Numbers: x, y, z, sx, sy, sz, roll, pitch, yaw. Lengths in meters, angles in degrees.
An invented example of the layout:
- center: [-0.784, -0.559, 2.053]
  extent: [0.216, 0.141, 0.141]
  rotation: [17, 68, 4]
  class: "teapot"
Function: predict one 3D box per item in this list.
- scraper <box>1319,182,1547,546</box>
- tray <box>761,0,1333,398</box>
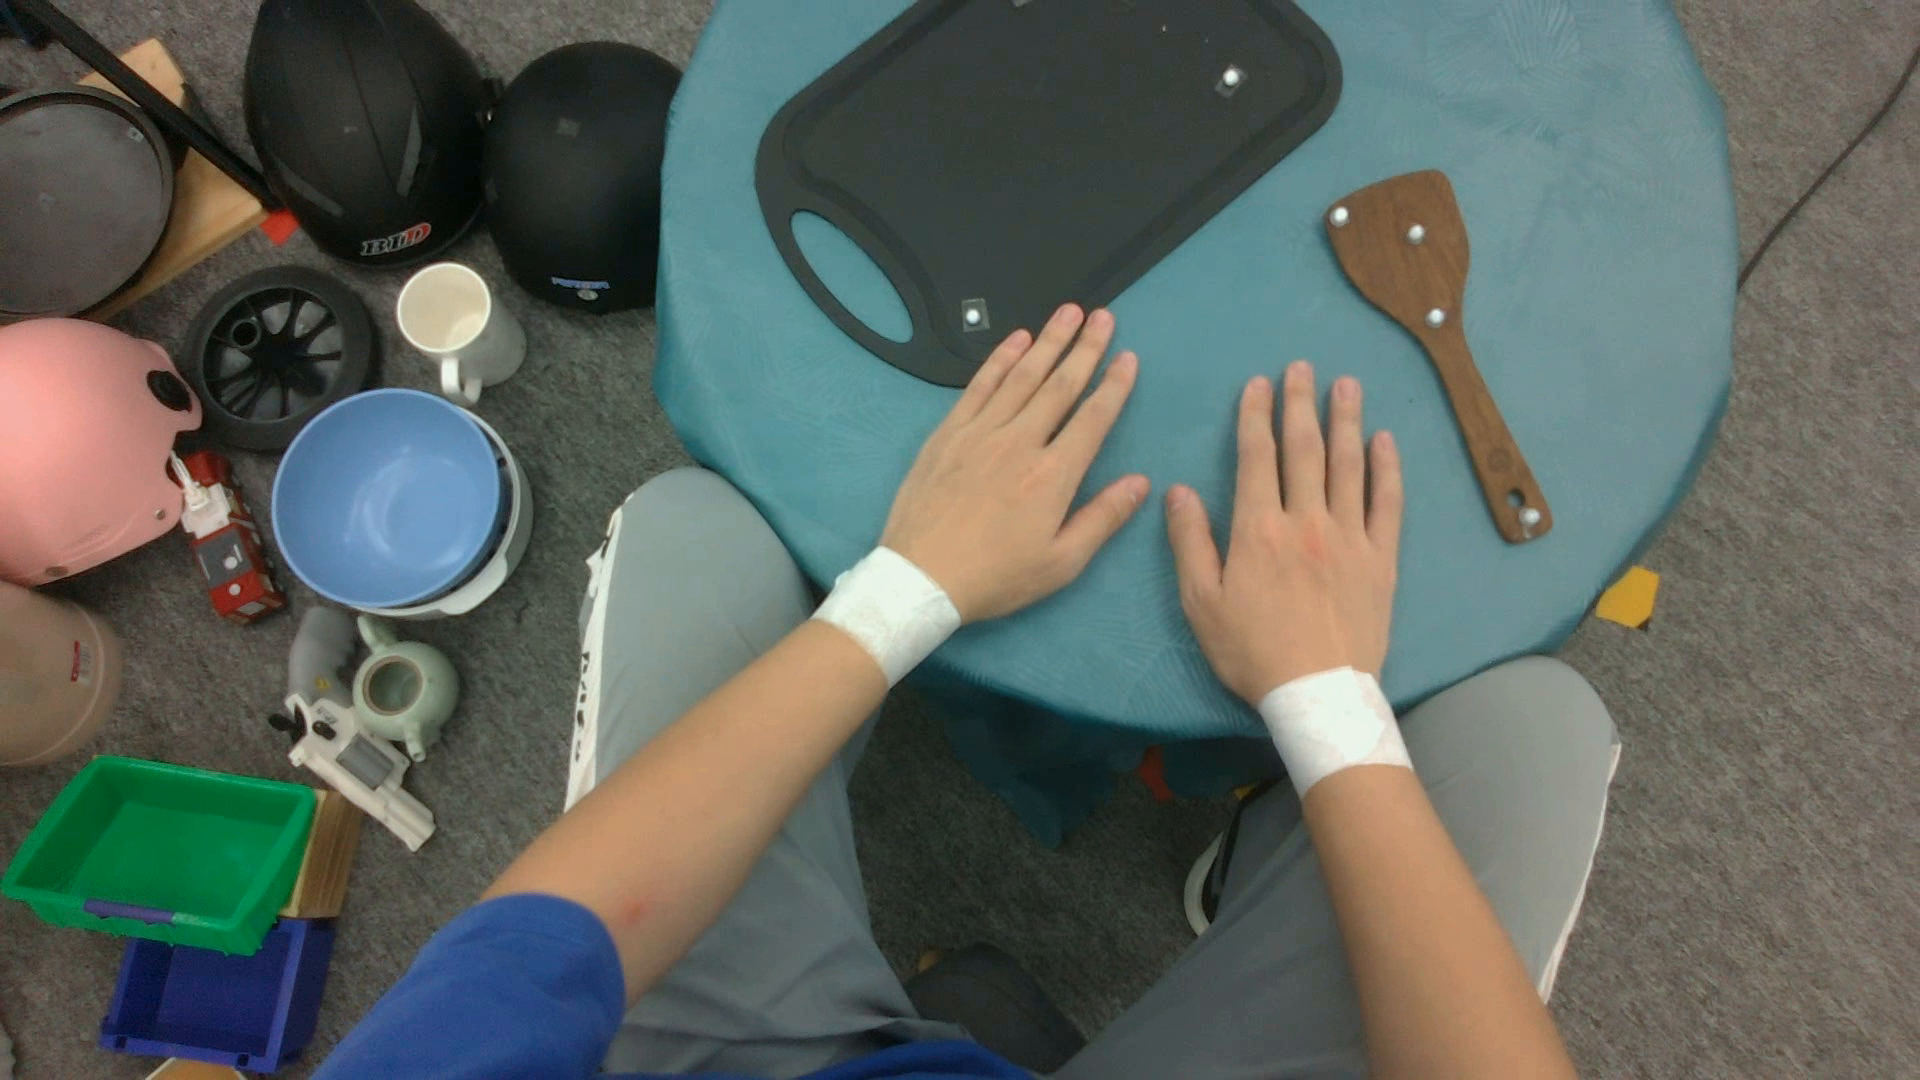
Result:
- center: [0.266, -0.096, 0.753]
  extent: [0.076, 0.011, 0.211]
  rotation: [-19, 77, -2]
  class: "scraper"
- center: [0.045, -0.228, 0.793]
  extent: [0.326, 0.010, 0.211]
  rotation: [-40, 78, -8]
  class: "tray"
